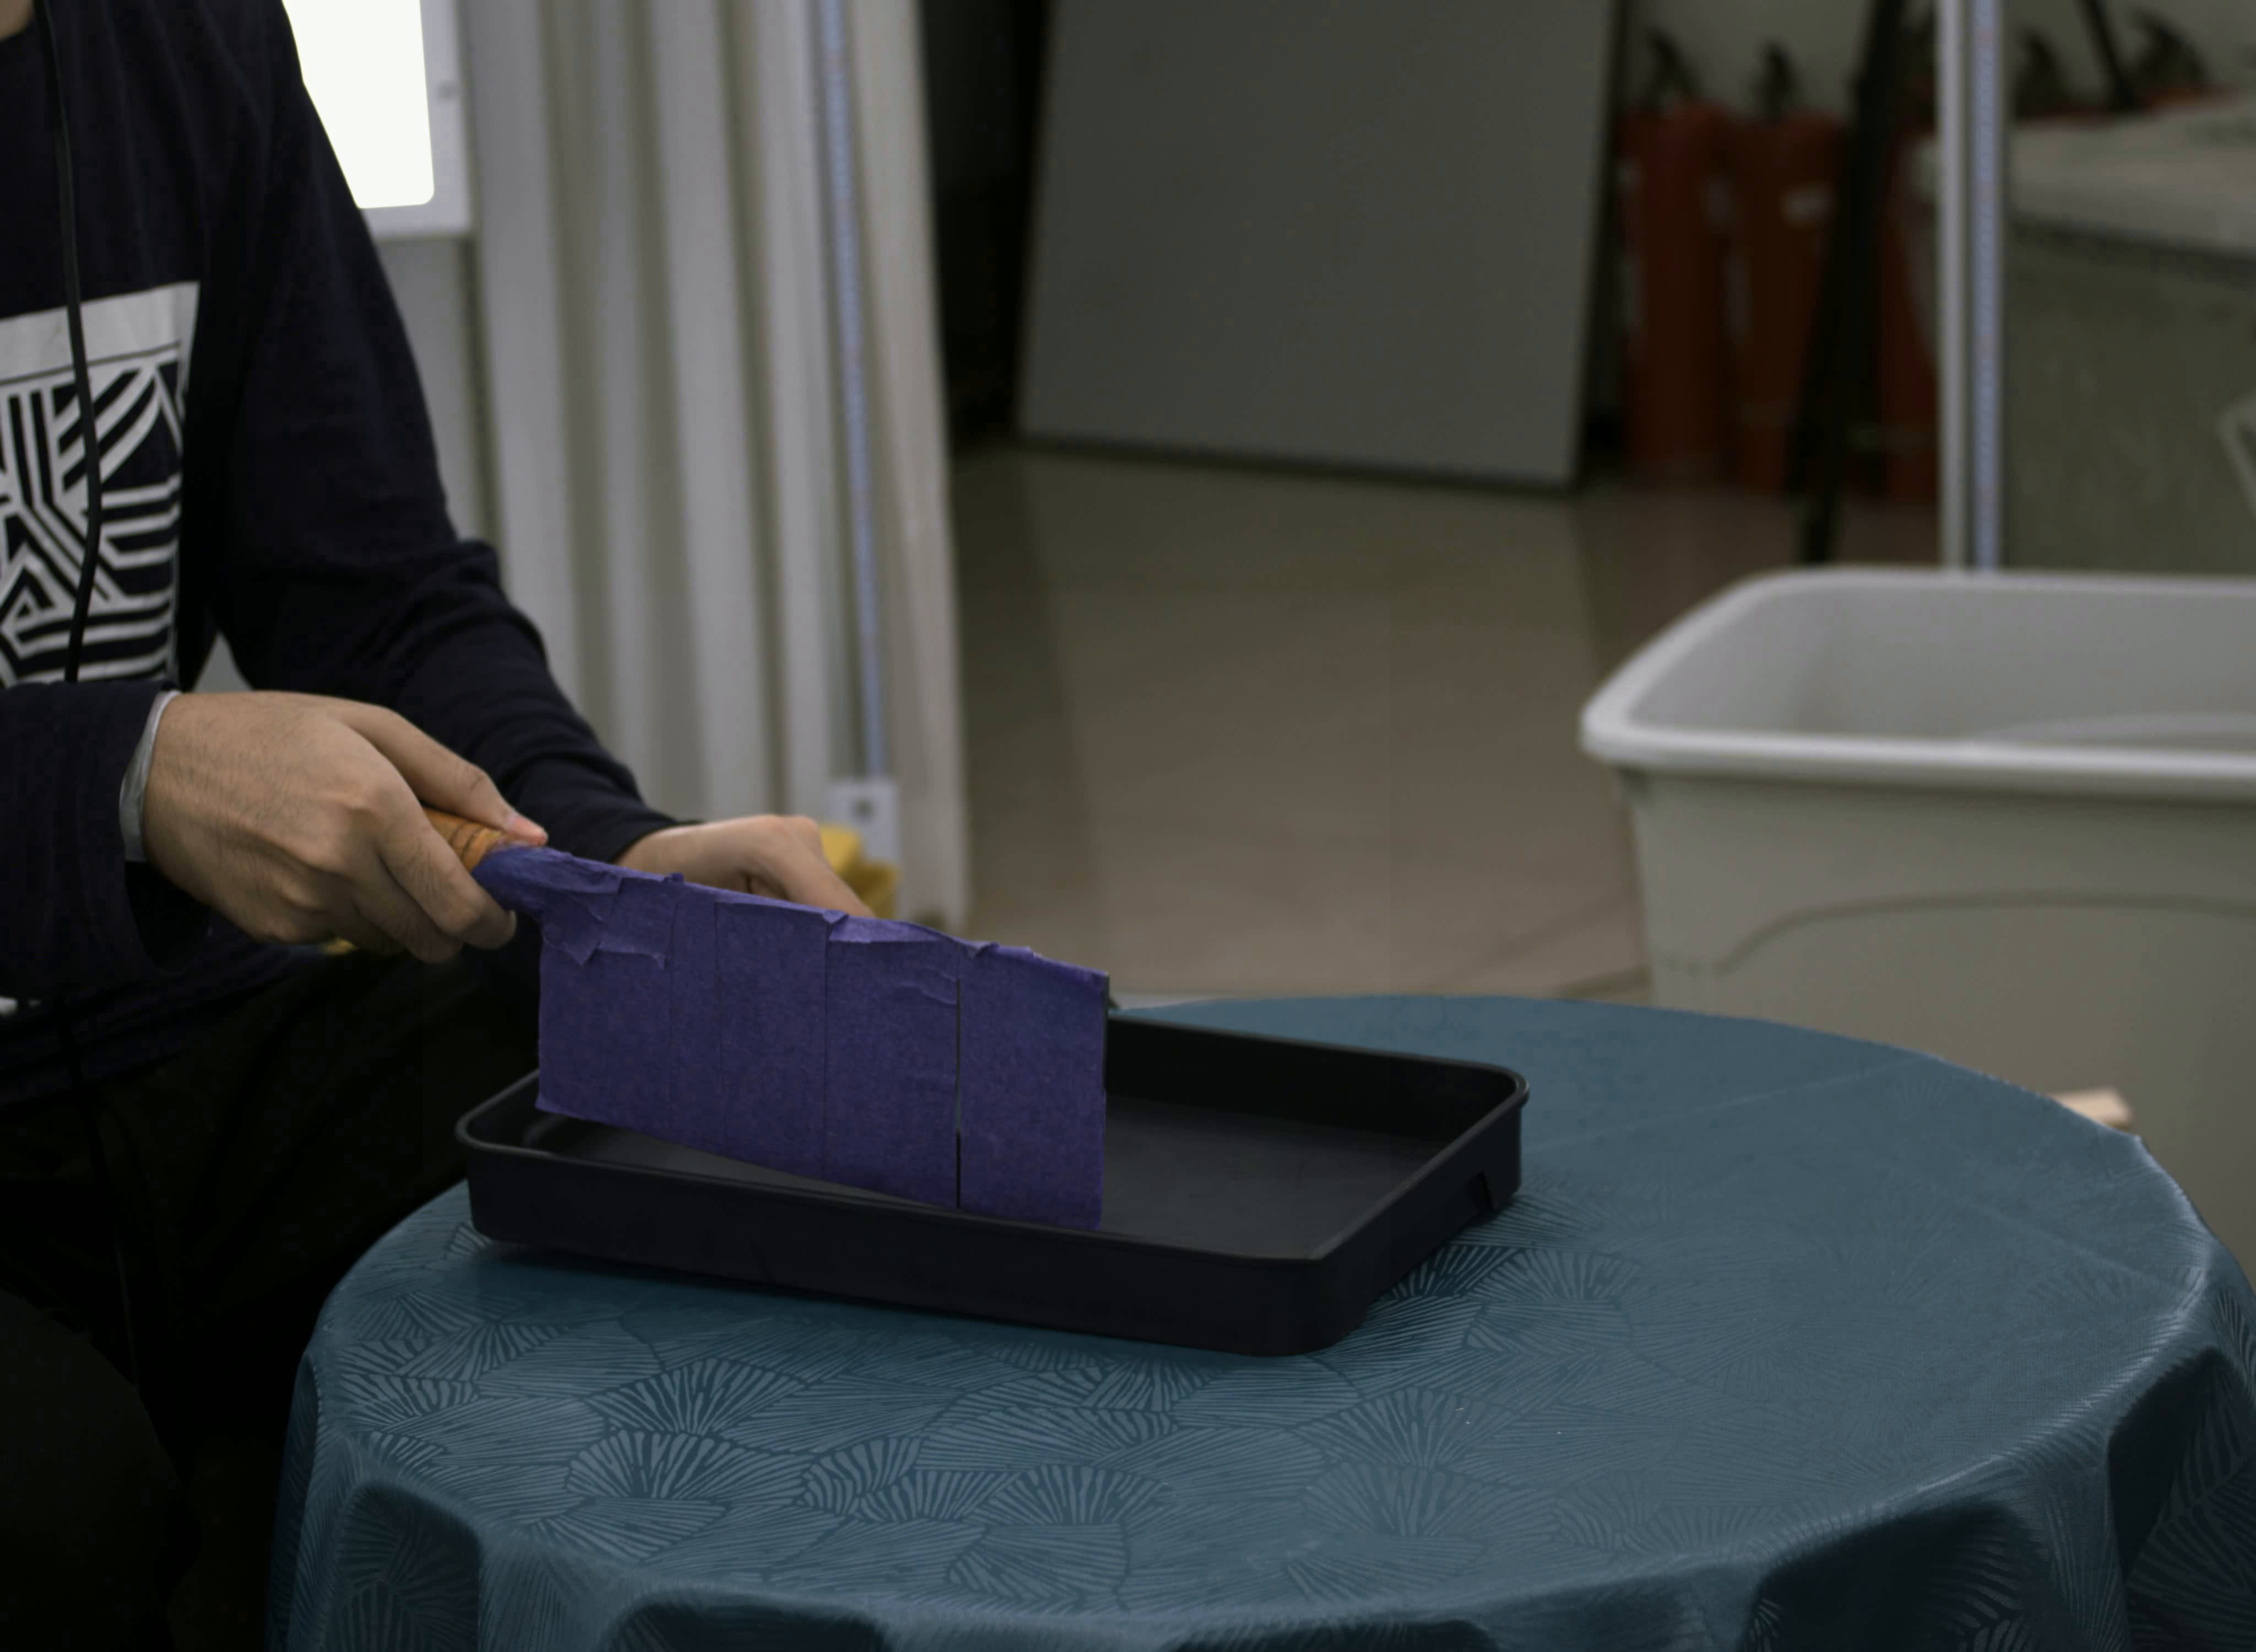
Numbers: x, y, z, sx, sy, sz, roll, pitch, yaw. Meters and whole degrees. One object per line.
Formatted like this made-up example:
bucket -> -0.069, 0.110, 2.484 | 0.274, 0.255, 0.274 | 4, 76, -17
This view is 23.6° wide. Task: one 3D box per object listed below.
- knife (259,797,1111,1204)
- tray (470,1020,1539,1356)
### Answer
knife -> -0.144, 0.059, 1.718 | 0.316, 0.105, 0.032 | 11, 18, 29
tray -> -0.038, 0.108, 1.740 | 0.319, 0.037, 0.182 | 4, 18, 27
